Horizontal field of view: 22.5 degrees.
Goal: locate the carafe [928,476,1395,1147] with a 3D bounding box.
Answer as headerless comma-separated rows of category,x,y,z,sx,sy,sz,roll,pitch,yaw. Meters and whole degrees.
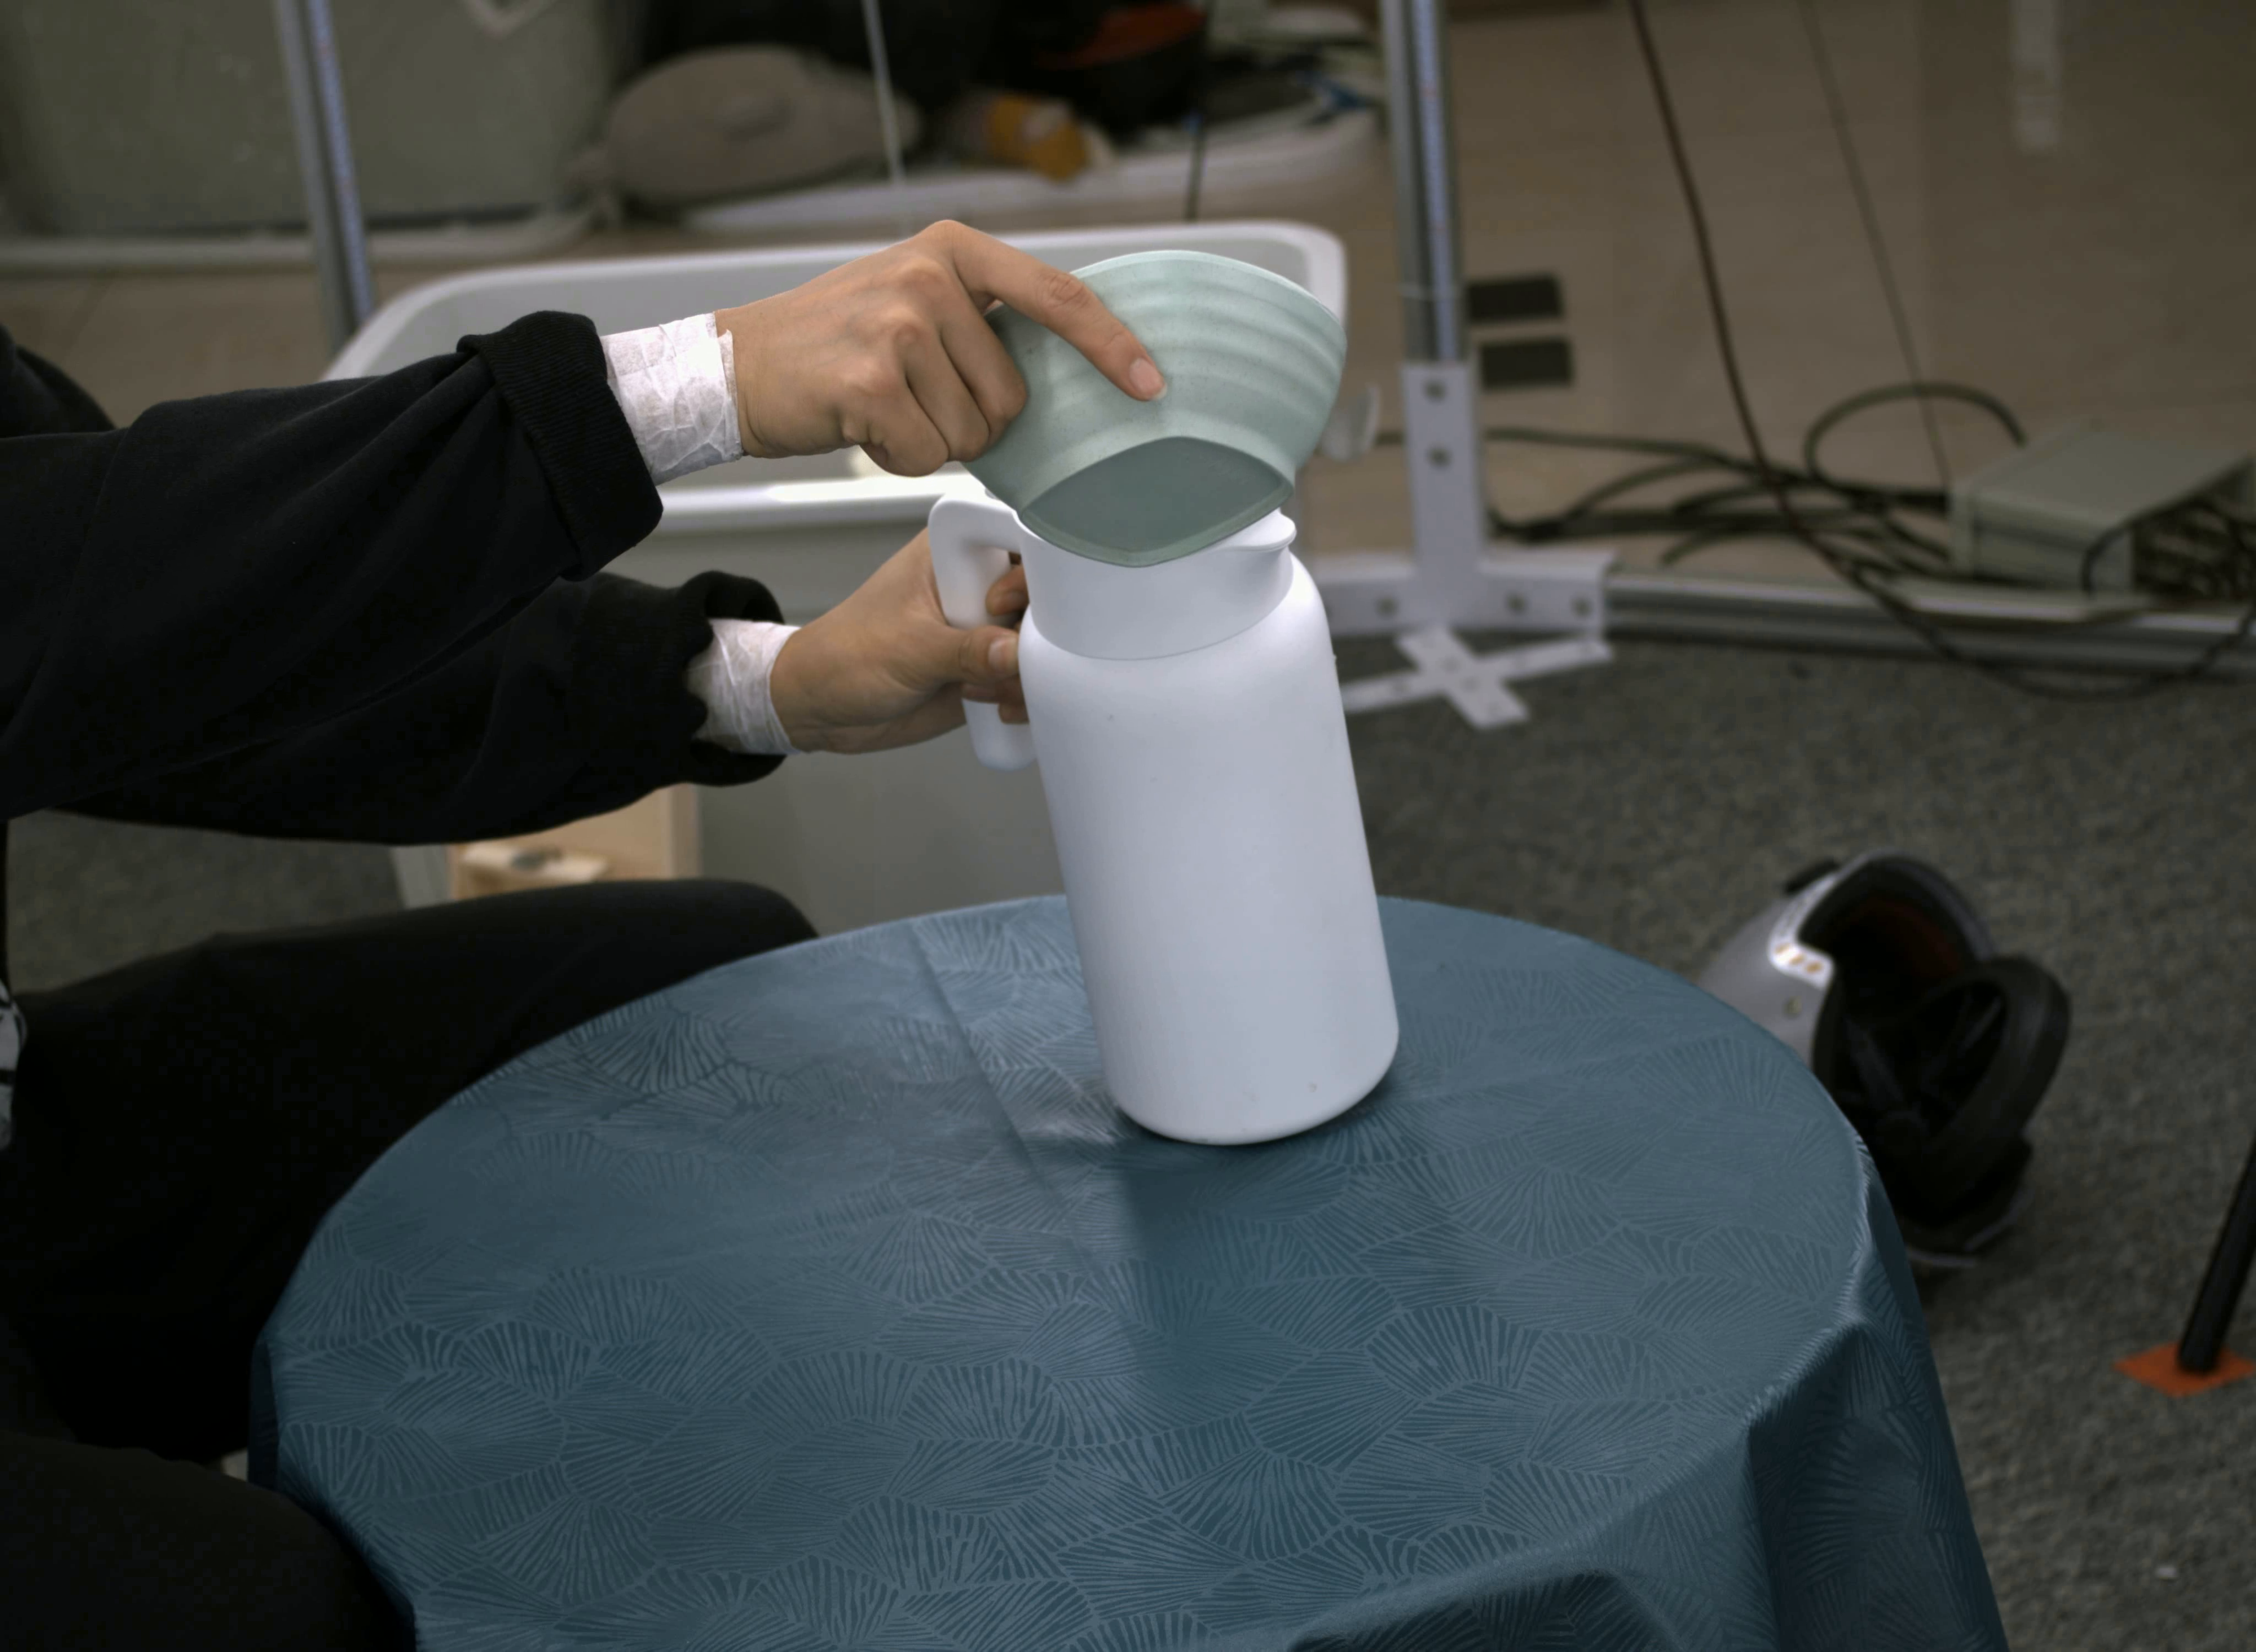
carafe,0.012,-0.019,2.153,0.171,0.274,0.122,15,43,35

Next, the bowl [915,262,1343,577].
bowl,0.005,-0.134,1.960,0.151,0.153,0.058,-8,67,-4
